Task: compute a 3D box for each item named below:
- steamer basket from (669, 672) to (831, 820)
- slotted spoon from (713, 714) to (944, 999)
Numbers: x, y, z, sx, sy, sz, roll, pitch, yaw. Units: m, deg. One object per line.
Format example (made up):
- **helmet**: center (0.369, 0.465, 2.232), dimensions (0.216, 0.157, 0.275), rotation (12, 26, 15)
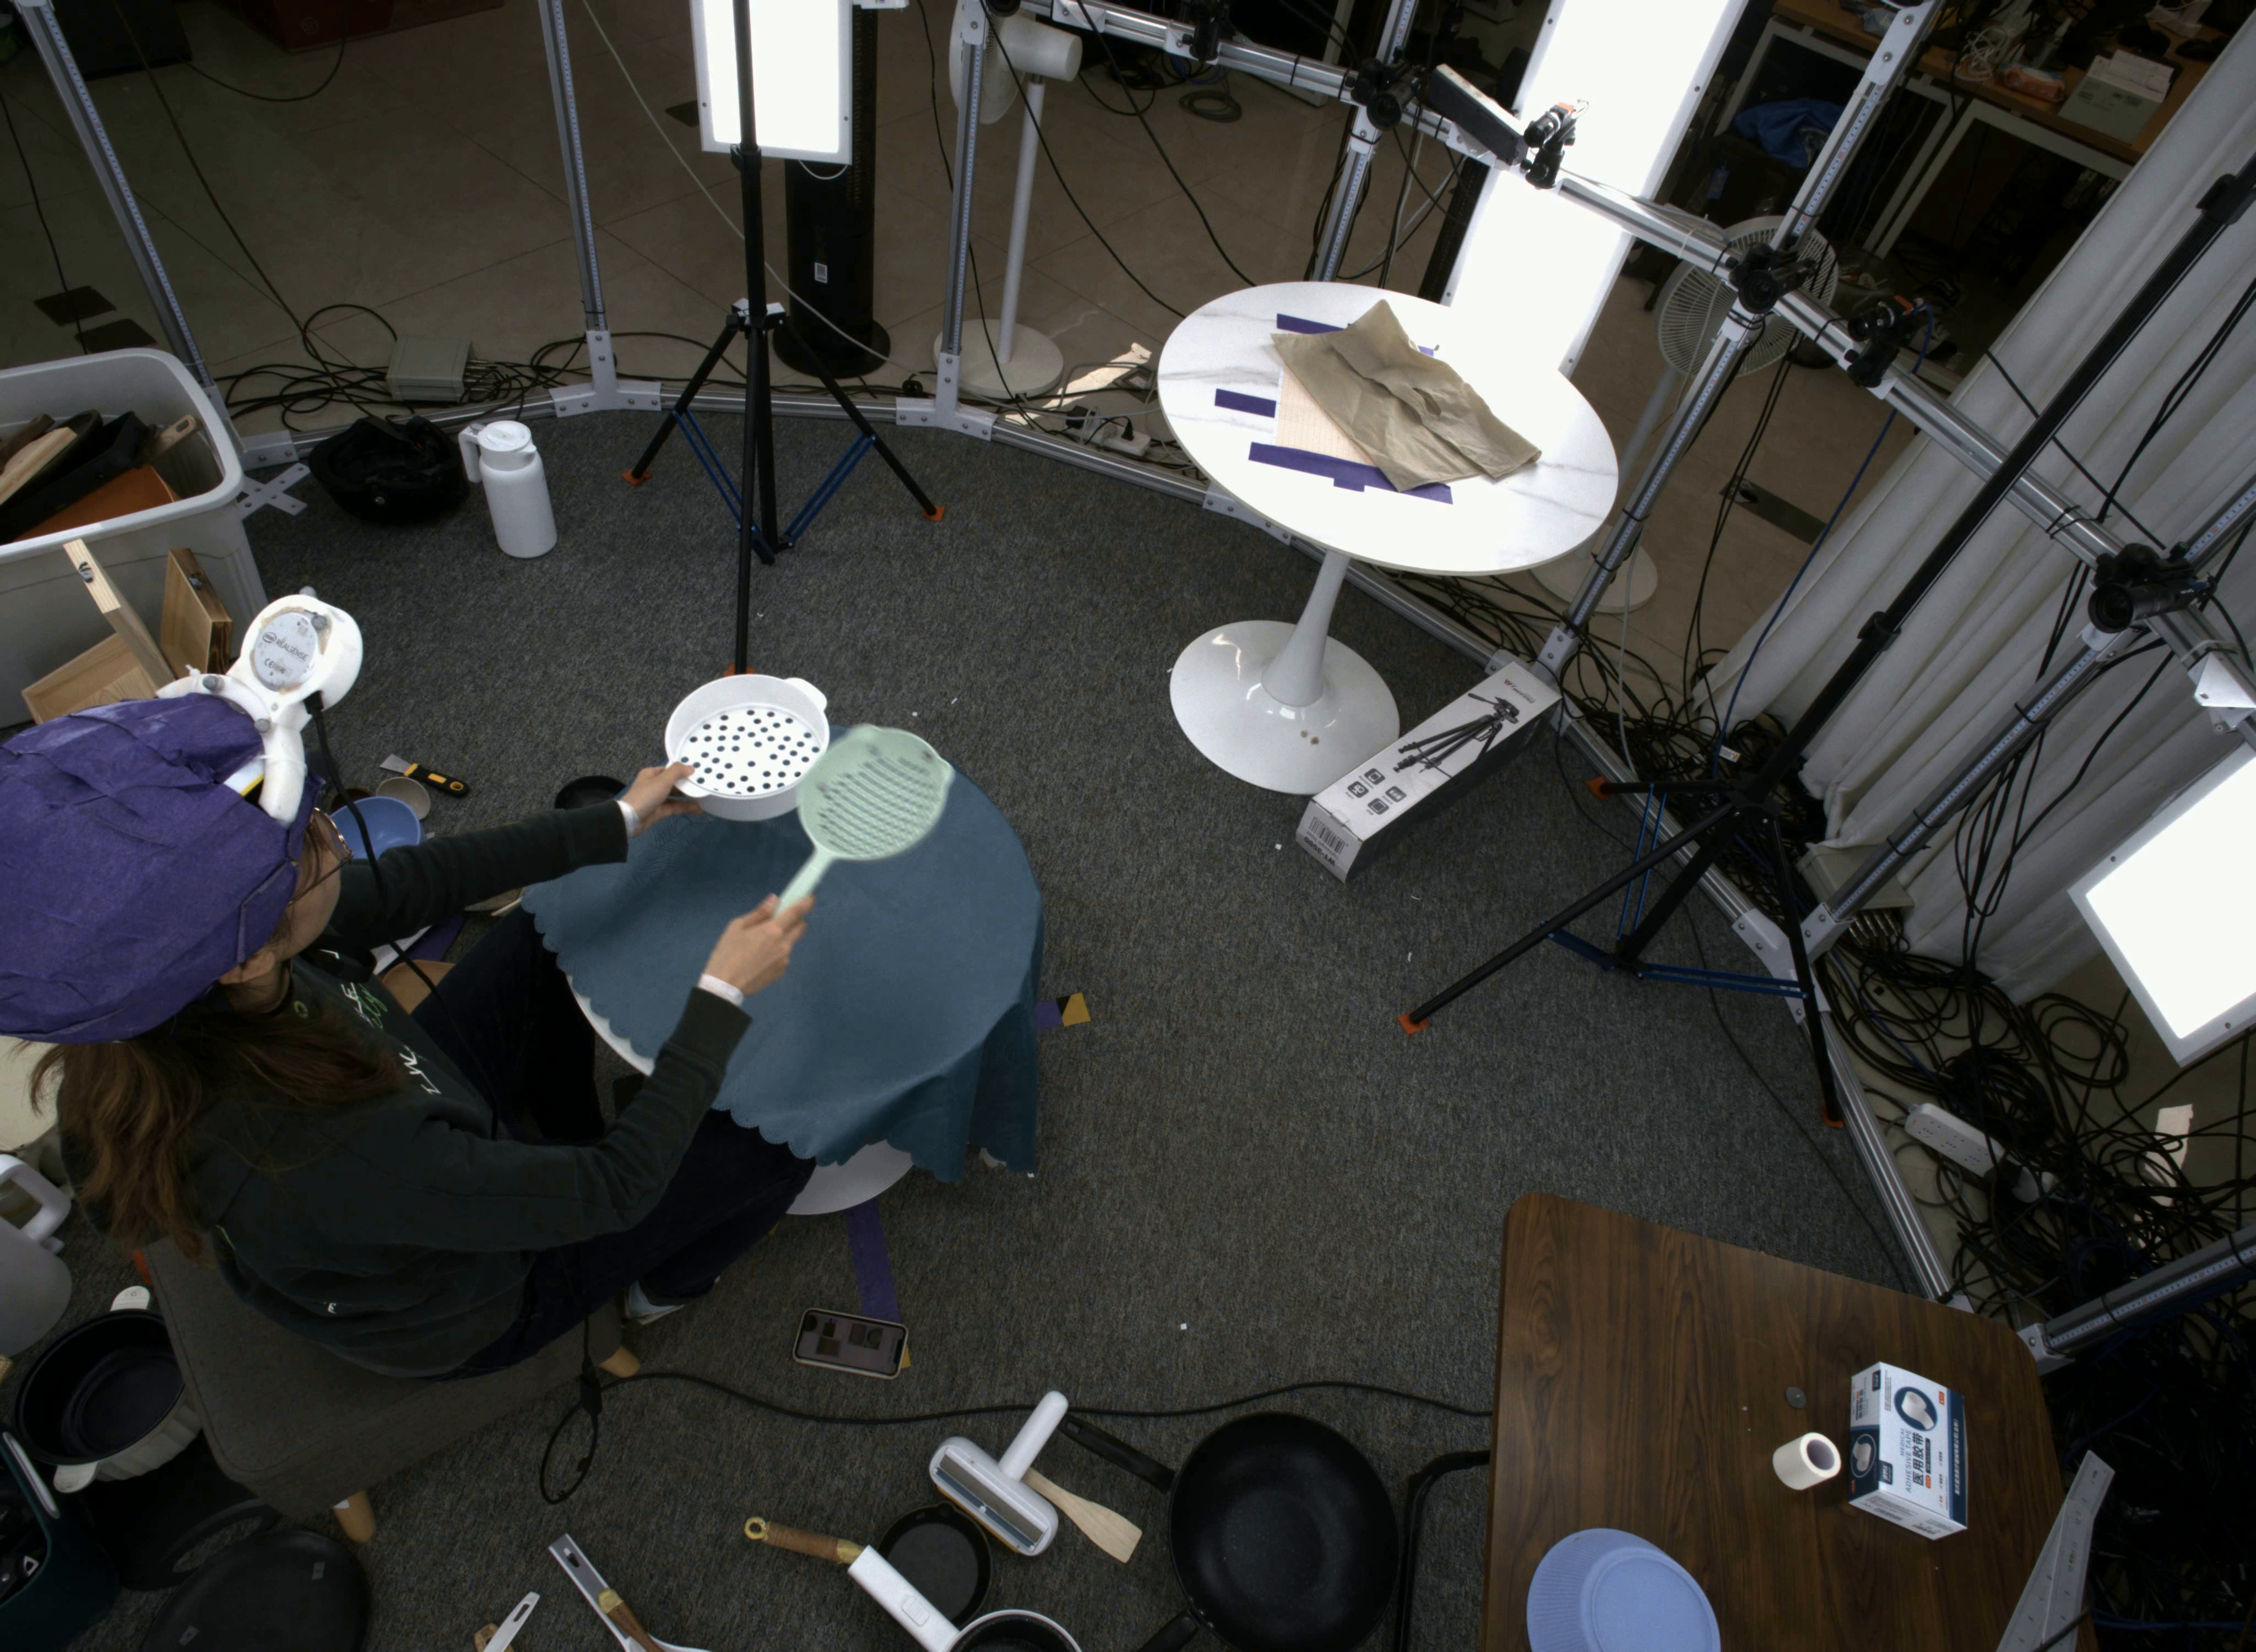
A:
- **steamer basket**: center (-0.480, -0.101, 1.649), dimensions (0.198, 0.070, 0.230), rotation (35, 56, 13)
- **slotted spoon**: center (-0.343, 0.032, 1.426), dimensions (0.165, 0.077, 0.358), rotation (26, 58, 17)
